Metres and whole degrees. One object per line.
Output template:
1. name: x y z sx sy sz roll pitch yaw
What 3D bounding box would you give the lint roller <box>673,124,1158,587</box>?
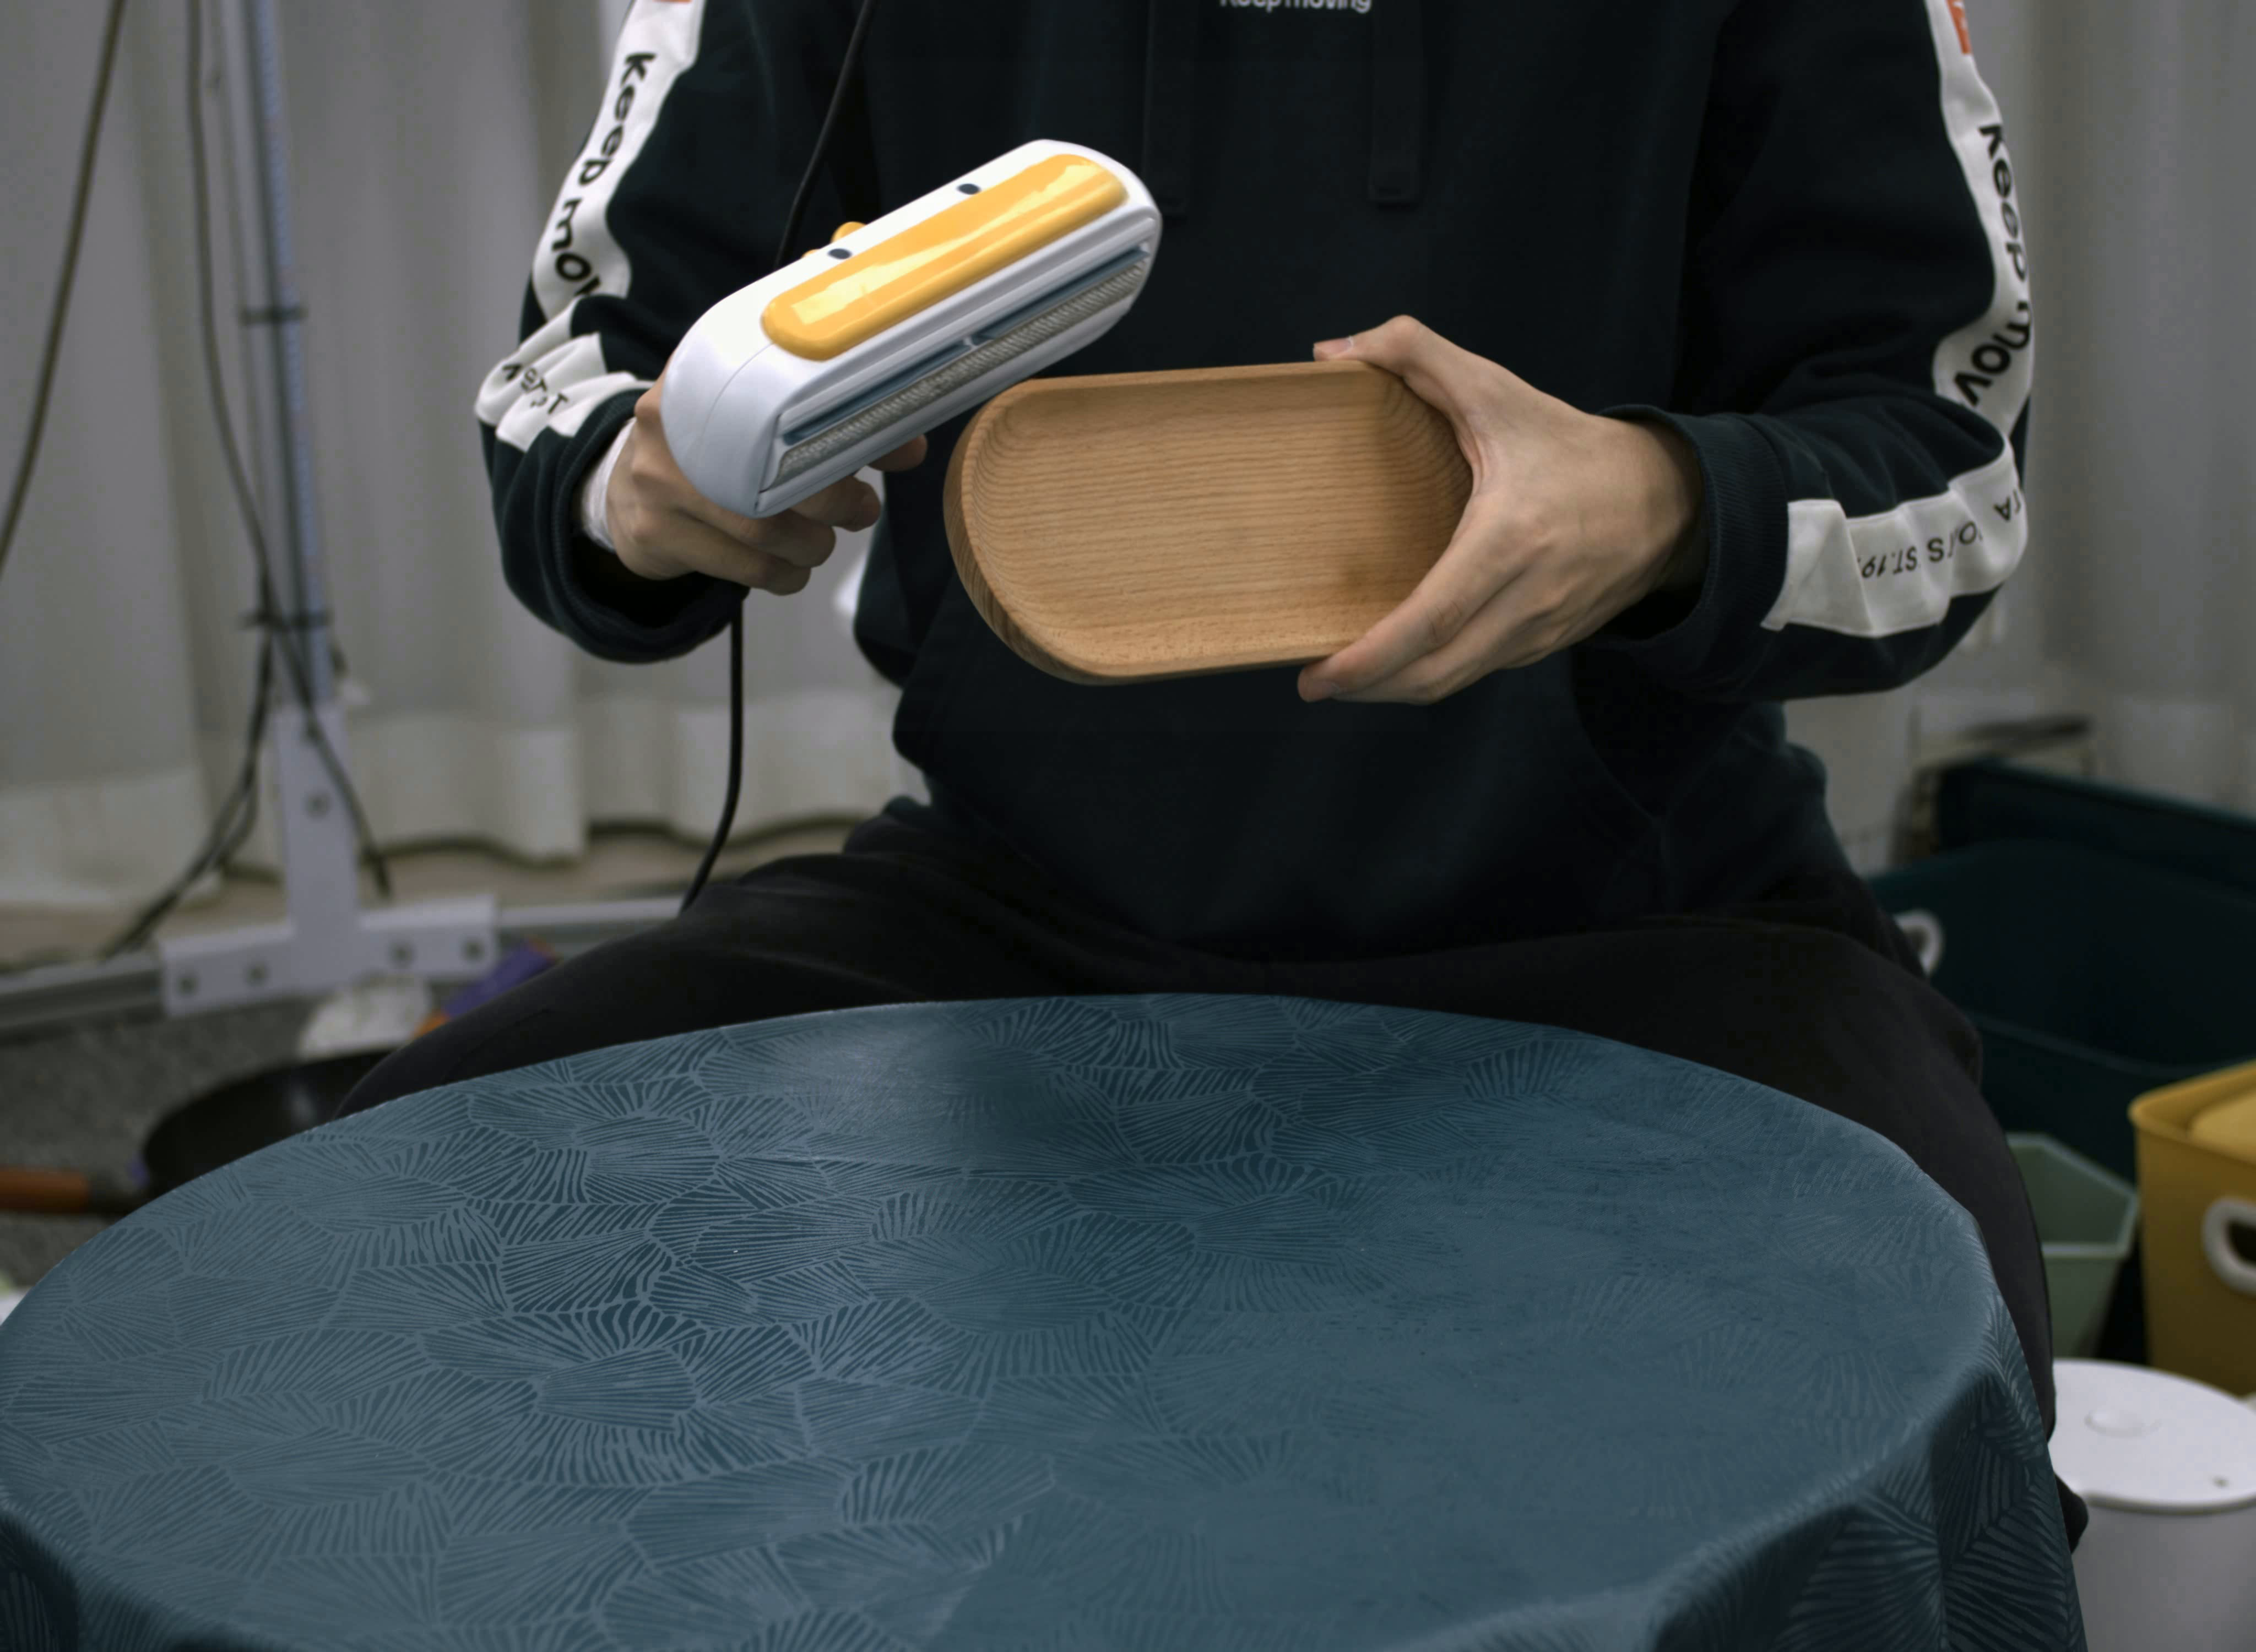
1. lint roller: -0.091 -0.133 1.784 0.074 0.190 0.193 43 47 12

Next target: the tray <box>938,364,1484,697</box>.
1. tray: 0.029 -0.096 1.763 0.230 0.102 0.020 -9 -13 -42
